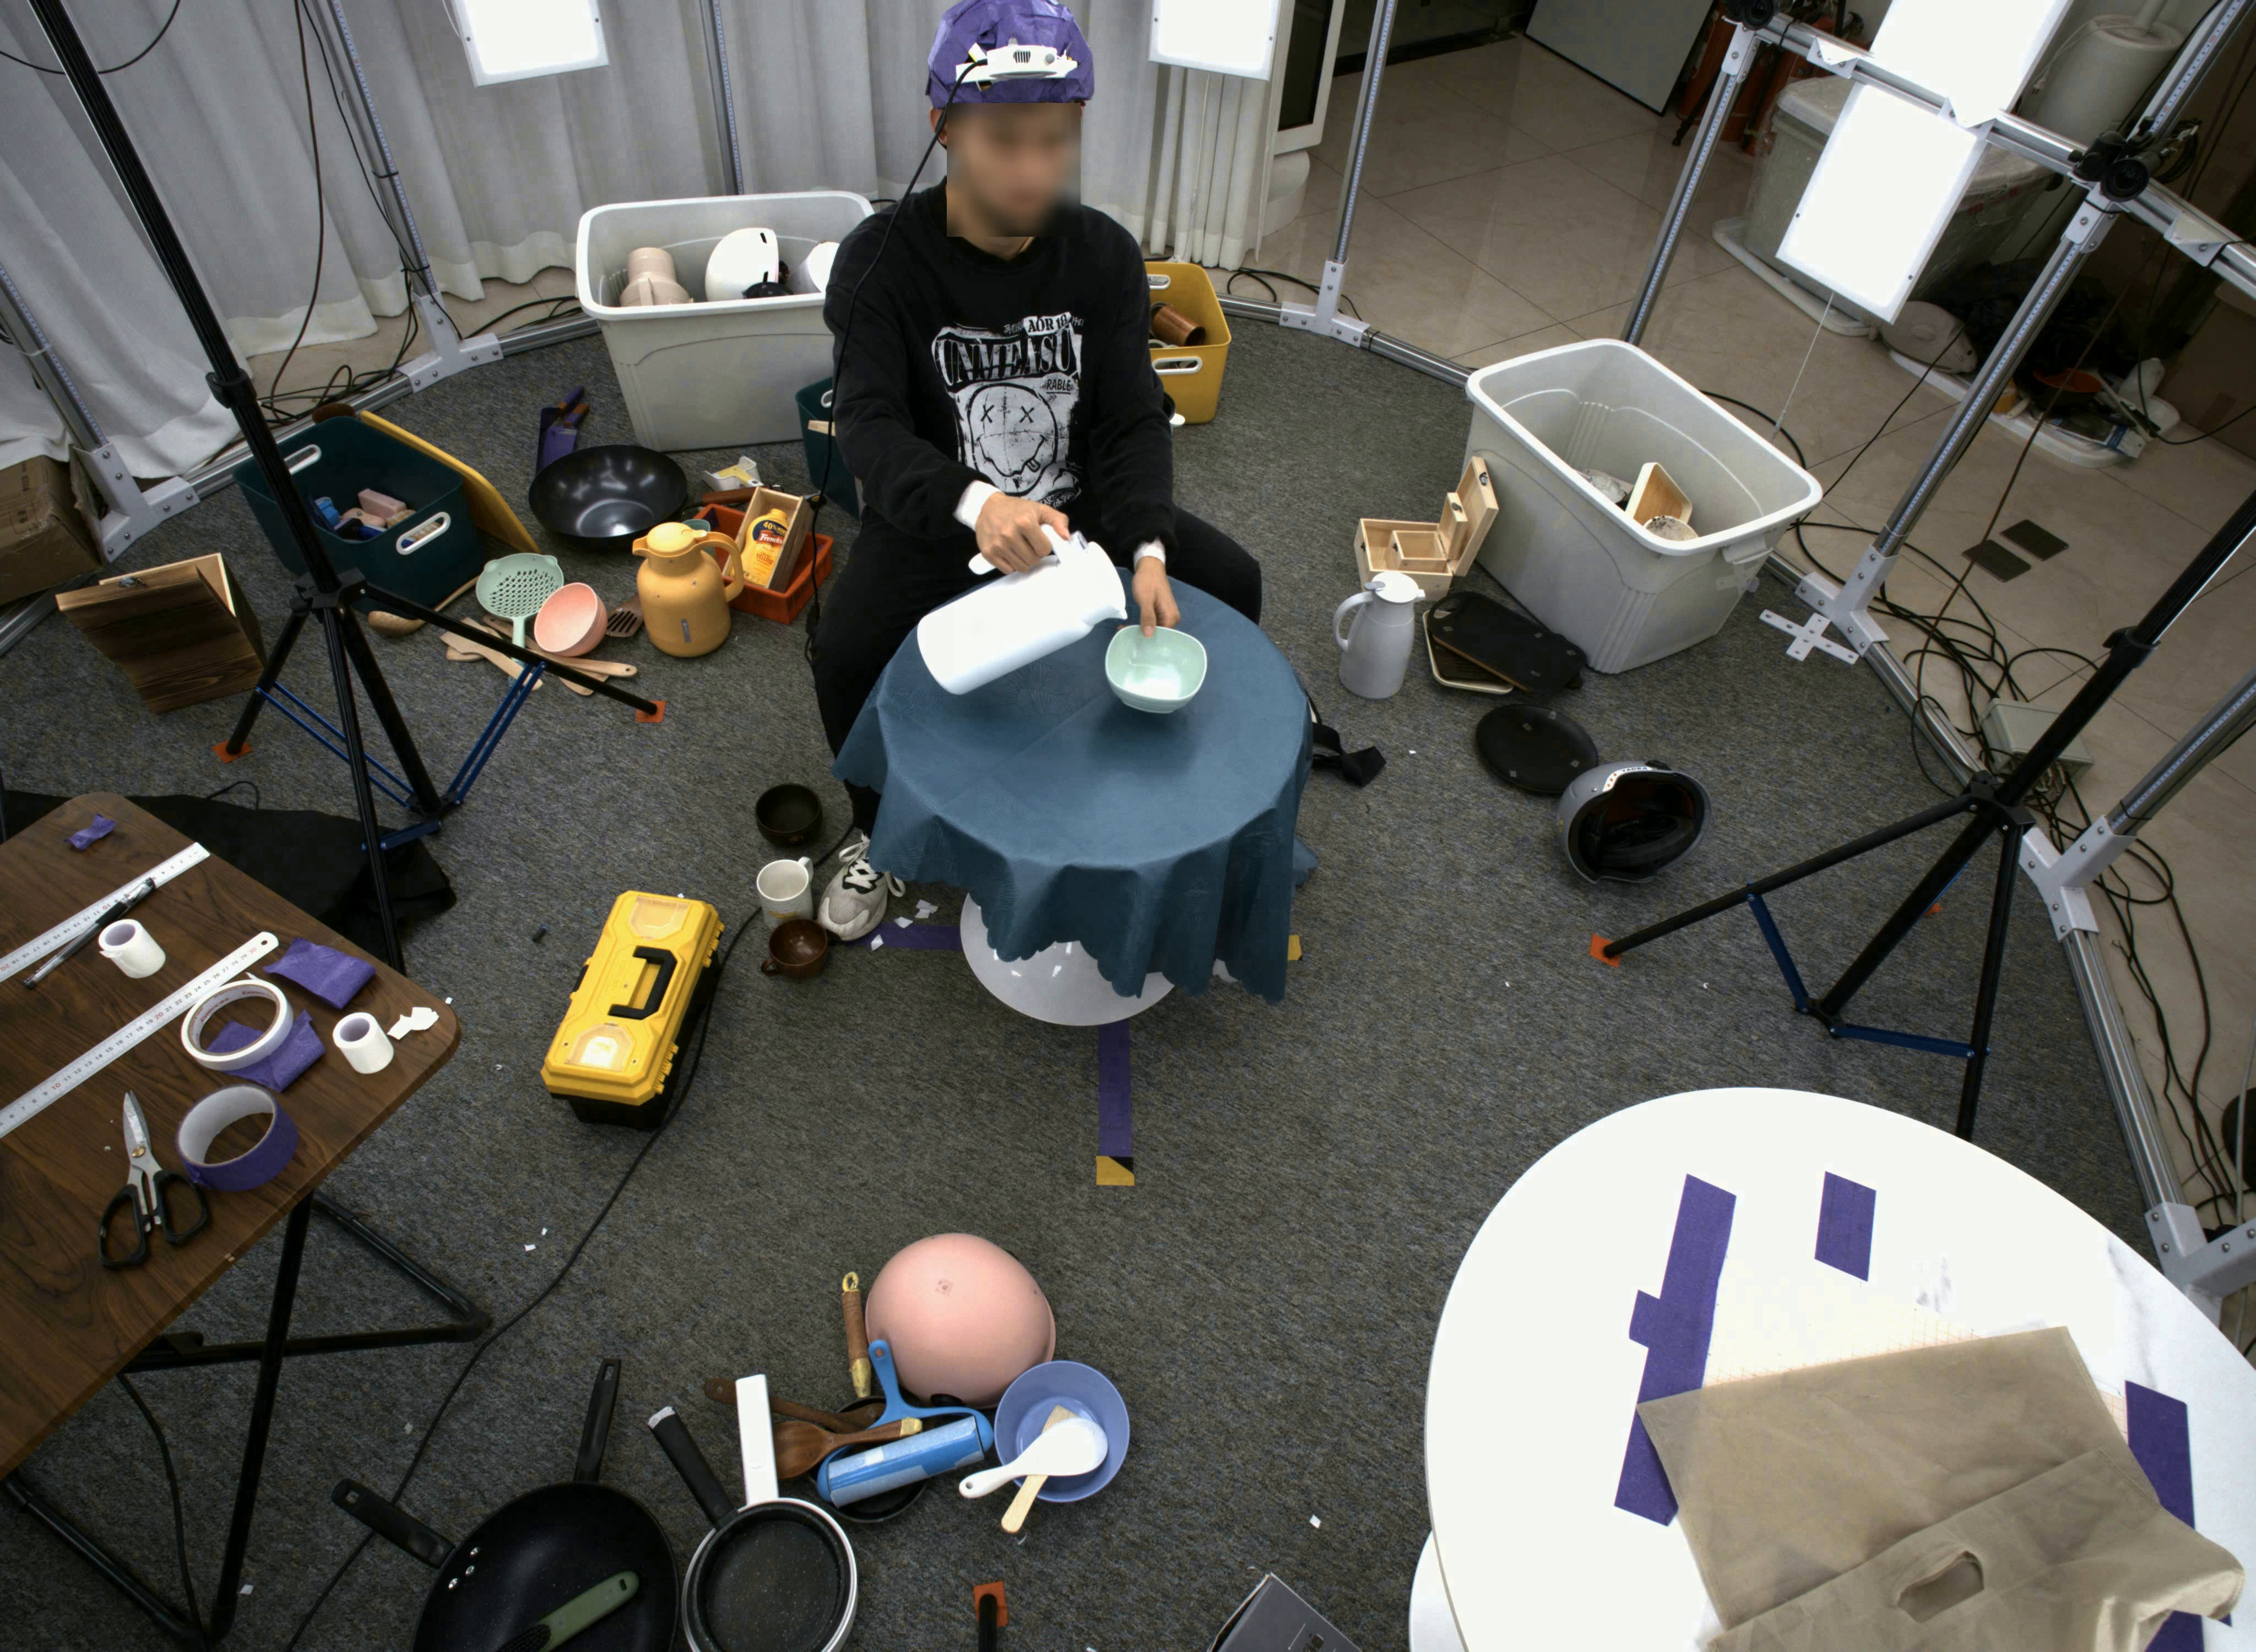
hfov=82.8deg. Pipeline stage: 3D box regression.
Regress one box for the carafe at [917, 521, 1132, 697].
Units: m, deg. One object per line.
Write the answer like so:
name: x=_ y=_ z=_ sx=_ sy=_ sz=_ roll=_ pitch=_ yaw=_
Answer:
carafe: x=-0.150 y=-0.285 z=1.694 sx=0.268 sy=0.169 sz=0.127 roll=-22 pitch=39 yaw=22

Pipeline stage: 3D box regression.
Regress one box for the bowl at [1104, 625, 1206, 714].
bowl: x=0.035 y=-0.207 z=1.774 sx=0.151 sy=0.057 sz=0.155 roll=4 pitch=51 yaw=-5
